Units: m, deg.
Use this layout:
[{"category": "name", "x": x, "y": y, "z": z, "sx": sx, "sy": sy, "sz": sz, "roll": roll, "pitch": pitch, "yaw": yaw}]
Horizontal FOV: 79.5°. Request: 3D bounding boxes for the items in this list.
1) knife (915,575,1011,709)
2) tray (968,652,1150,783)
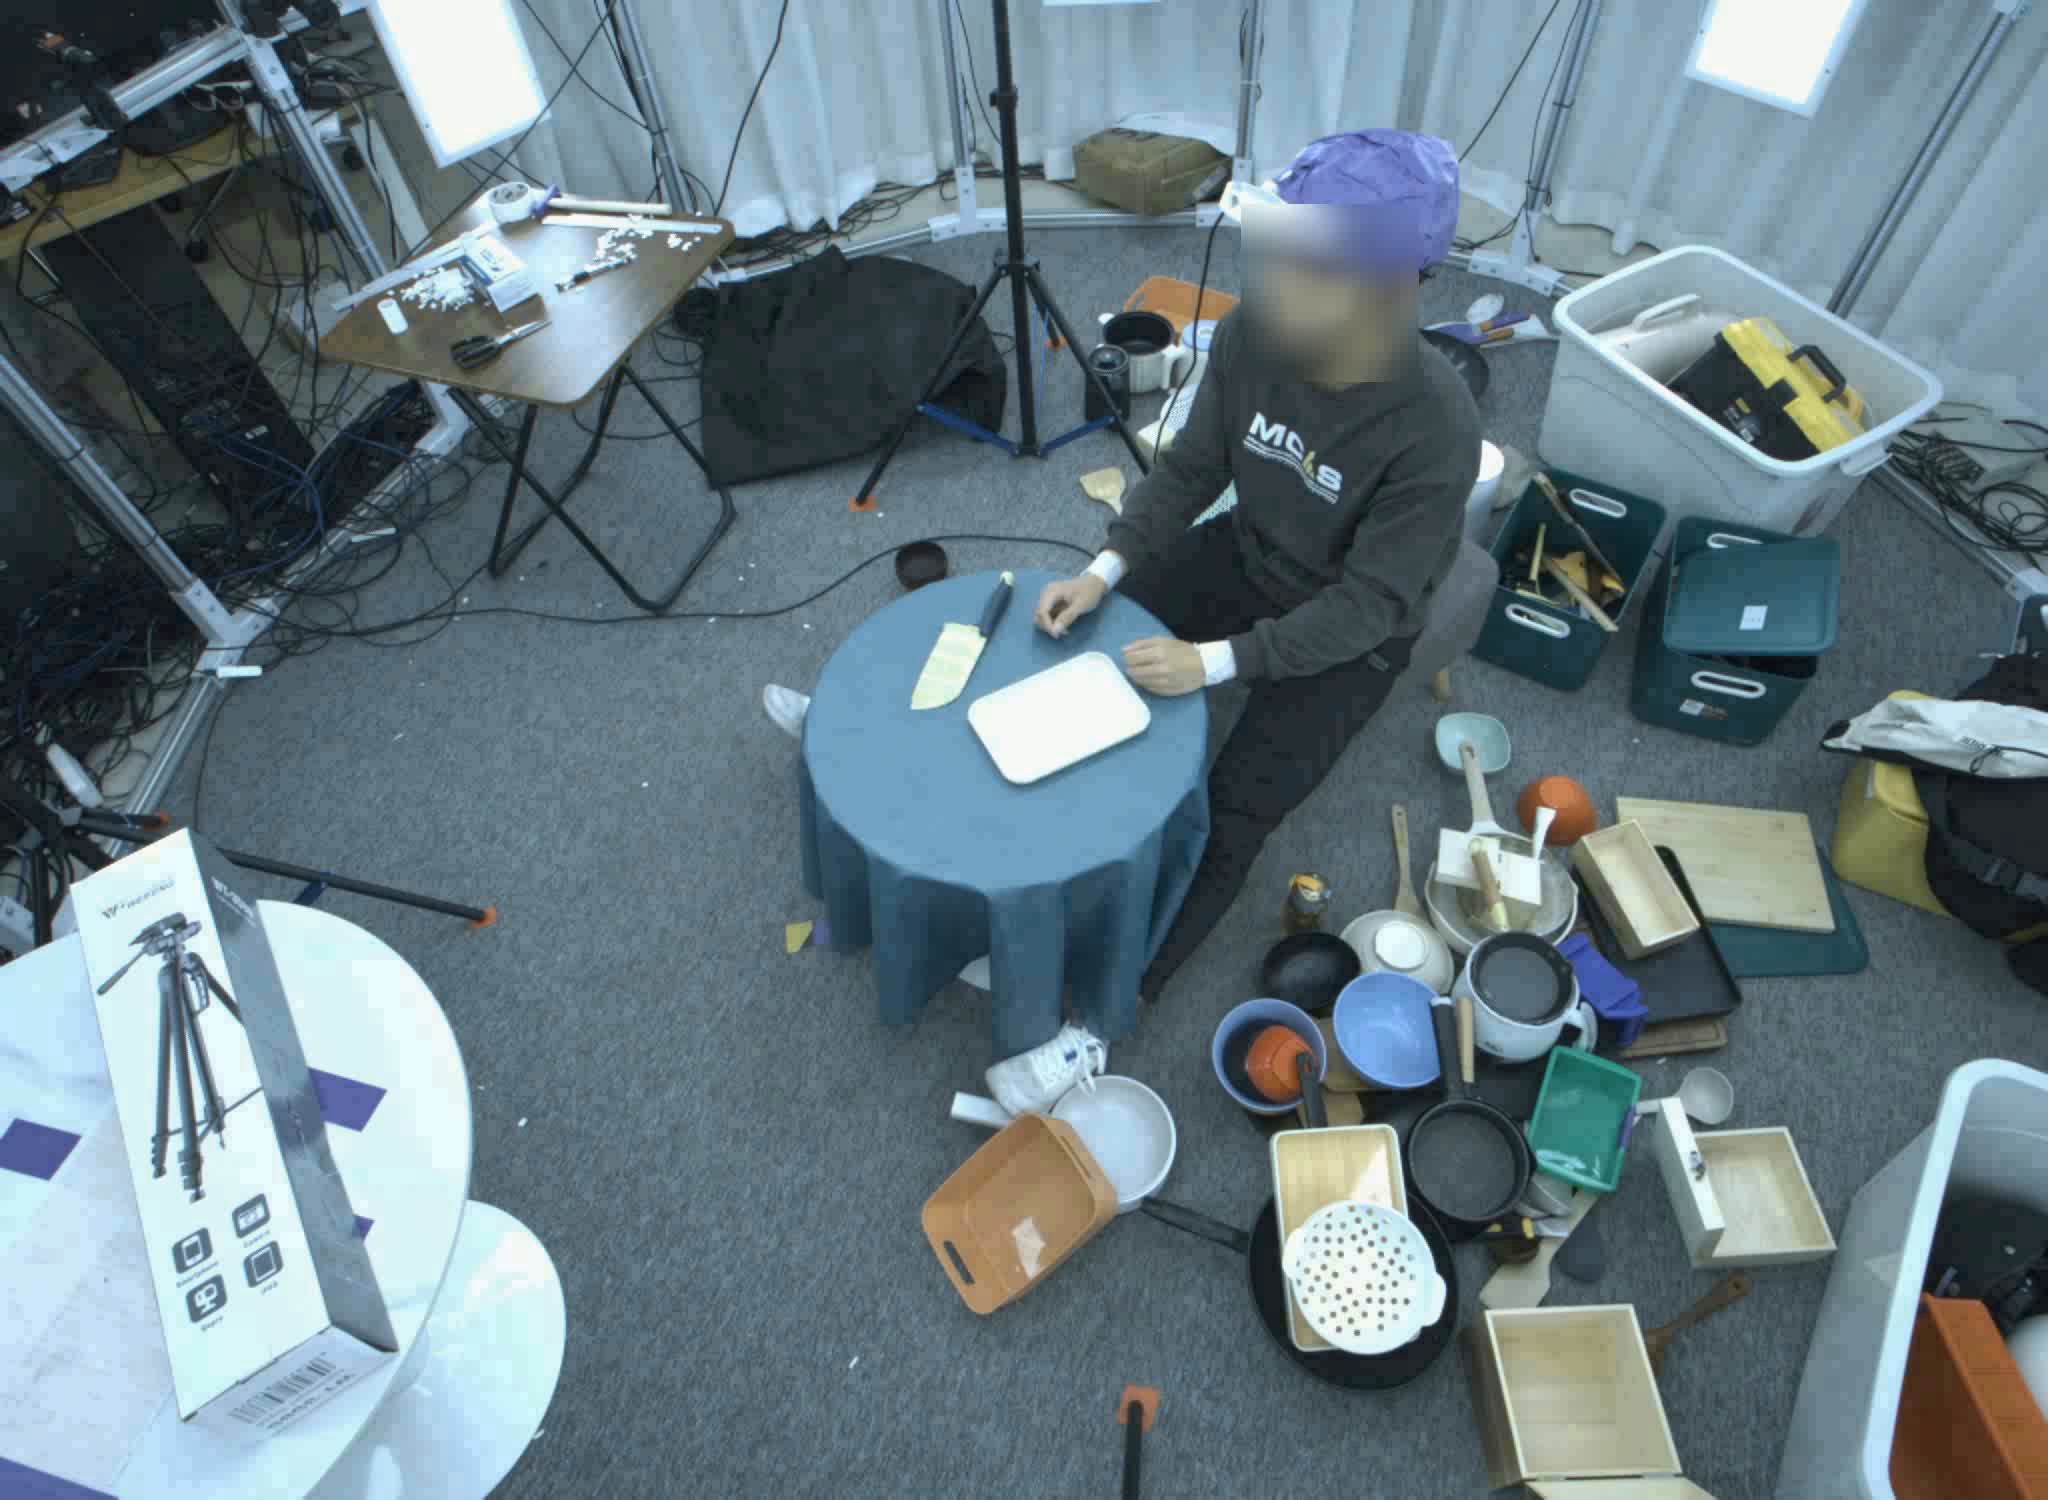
[{"category": "knife", "x": -0.093, "y": -0.172, "z": 1.911, "sx": 0.080, "sy": 0.027, "sz": 0.289, "roll": 20, "pitch": 58, "yaw": 13}, {"category": "tray", "x": 0.051, "y": -0.049, "z": 1.817, "sx": 0.241, "sy": 0.017, "sz": 0.168, "roll": -24, "pitch": 57, "yaw": -15}]
